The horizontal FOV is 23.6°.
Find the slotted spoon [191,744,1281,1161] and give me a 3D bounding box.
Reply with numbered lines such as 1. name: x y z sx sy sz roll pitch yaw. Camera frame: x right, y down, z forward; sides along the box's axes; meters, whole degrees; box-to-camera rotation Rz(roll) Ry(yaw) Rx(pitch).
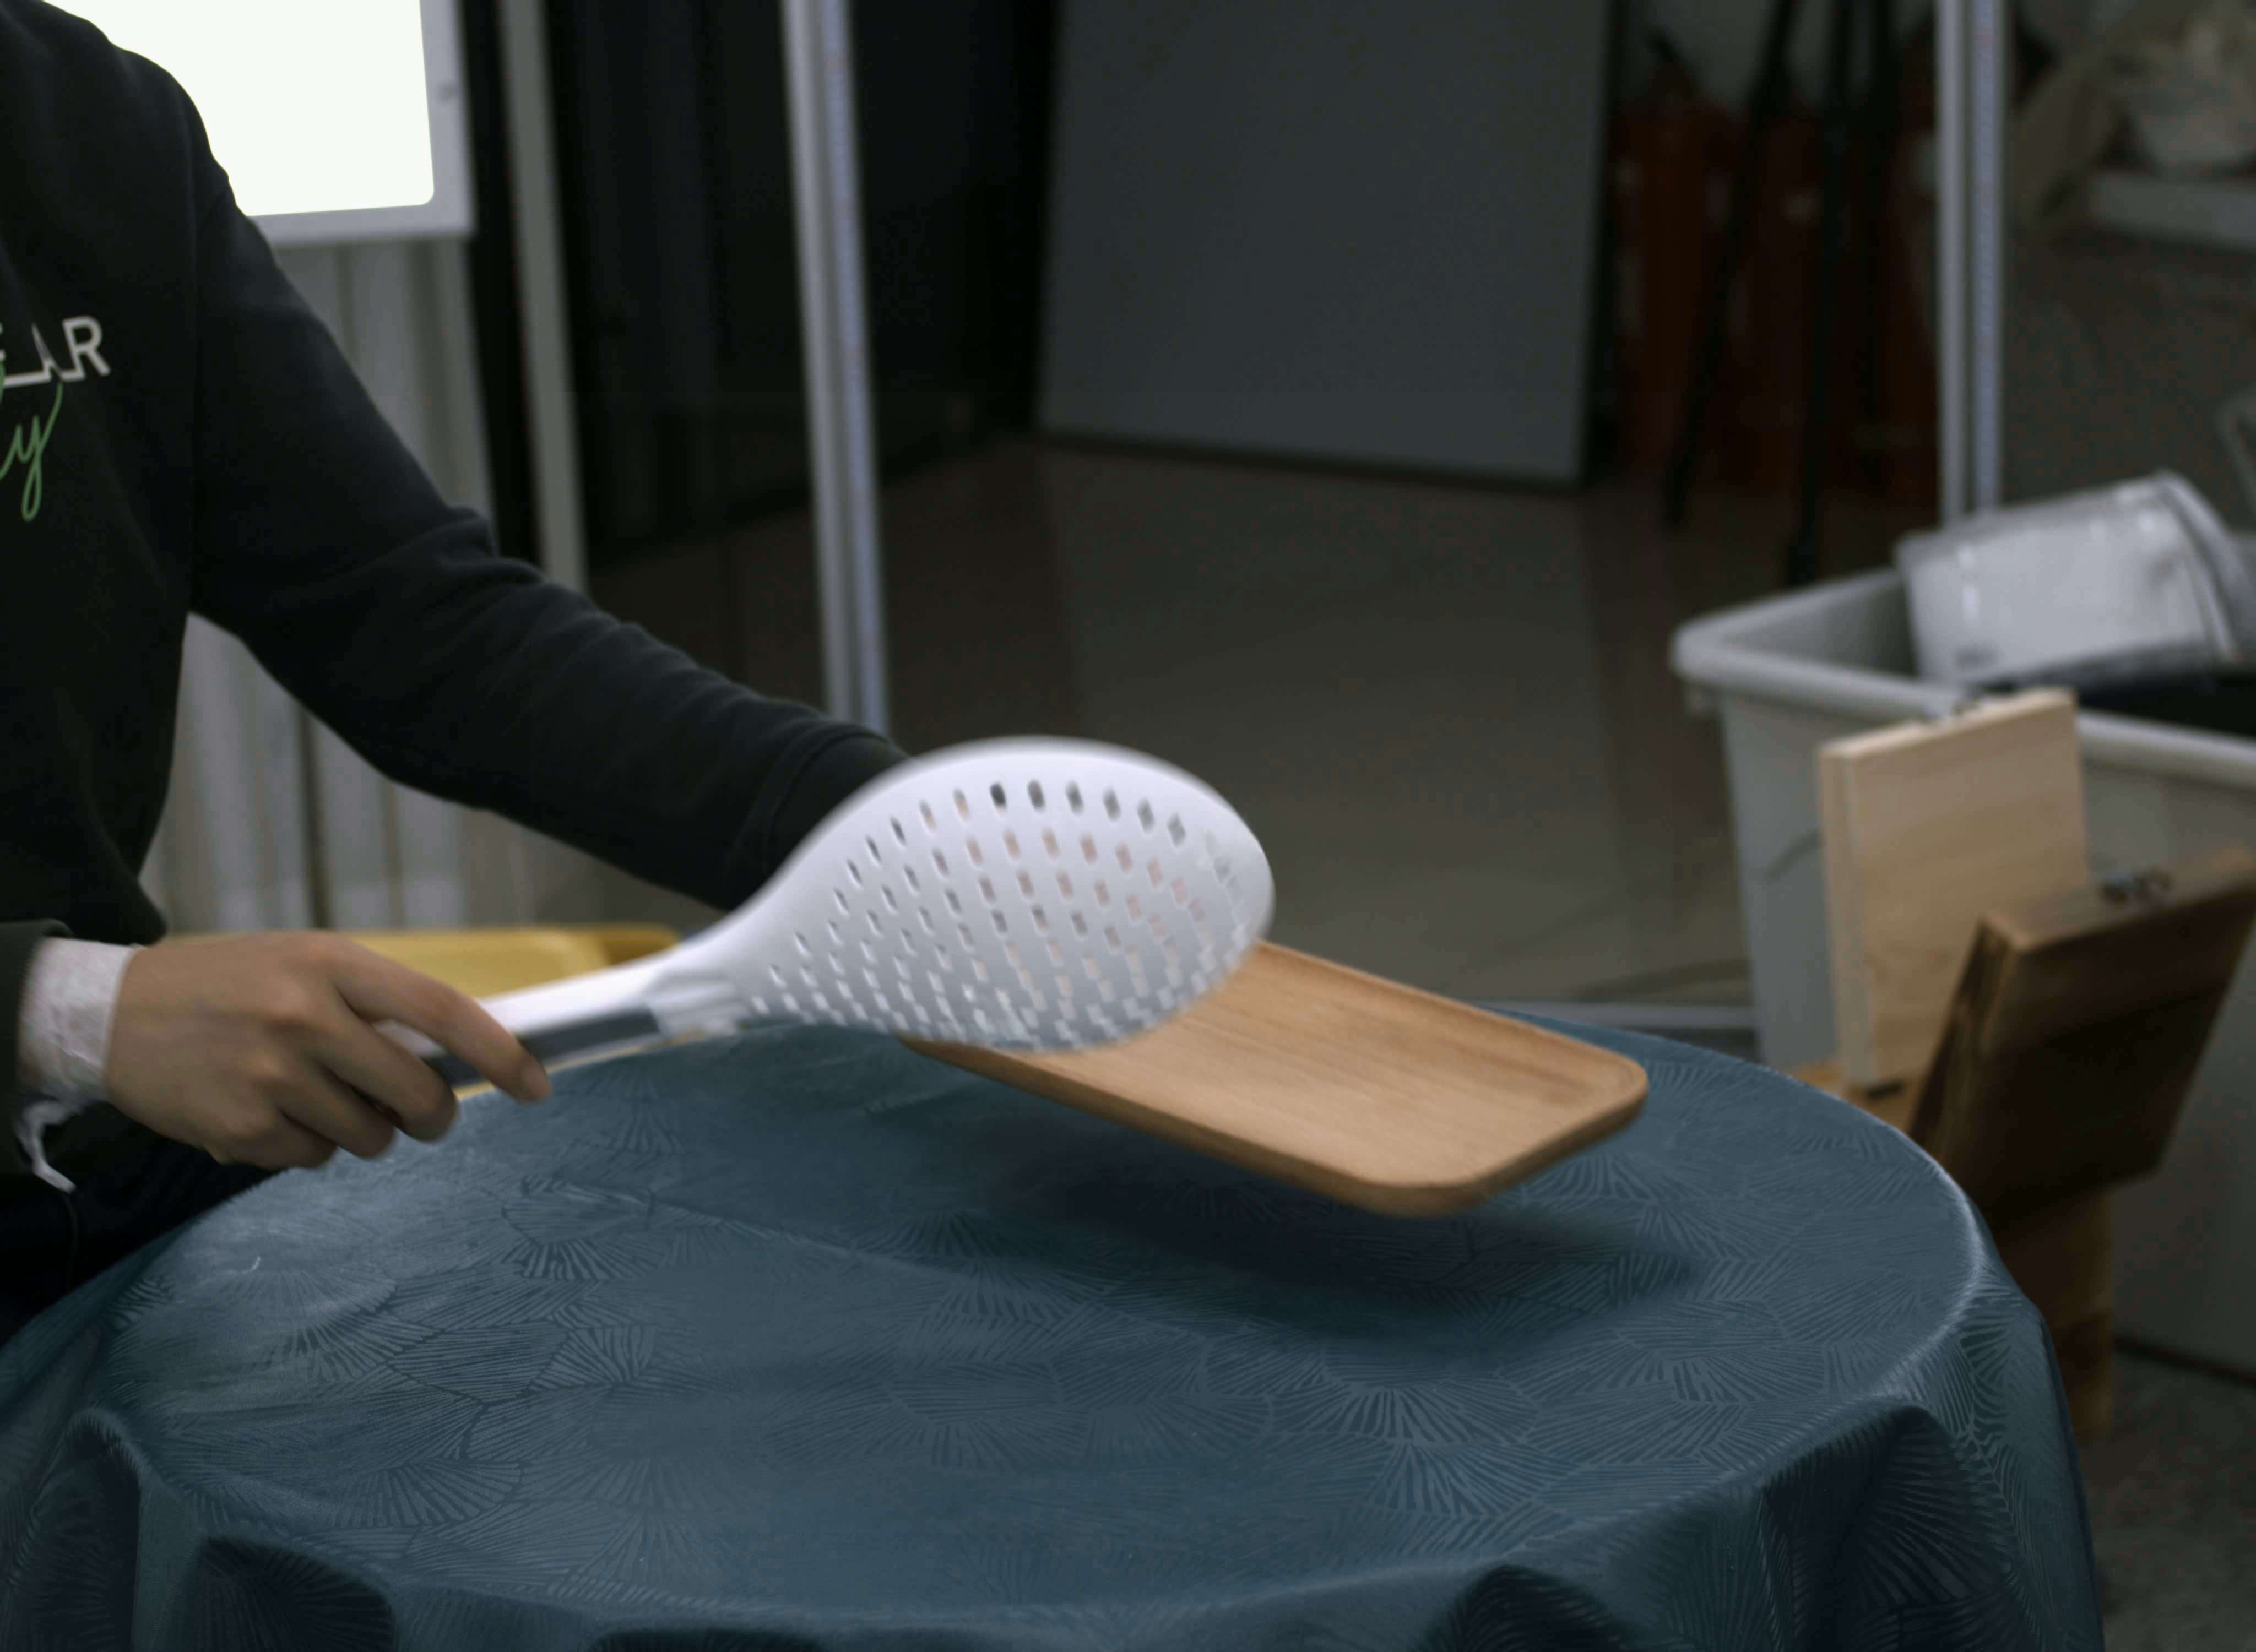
1. slotted spoon: -0.121 0.051 1.596 0.349 0.135 0.046 -10 49 22

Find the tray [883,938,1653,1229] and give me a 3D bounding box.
1. tray: 0.042 0.075 1.725 0.253 0.023 0.128 16 25 41
